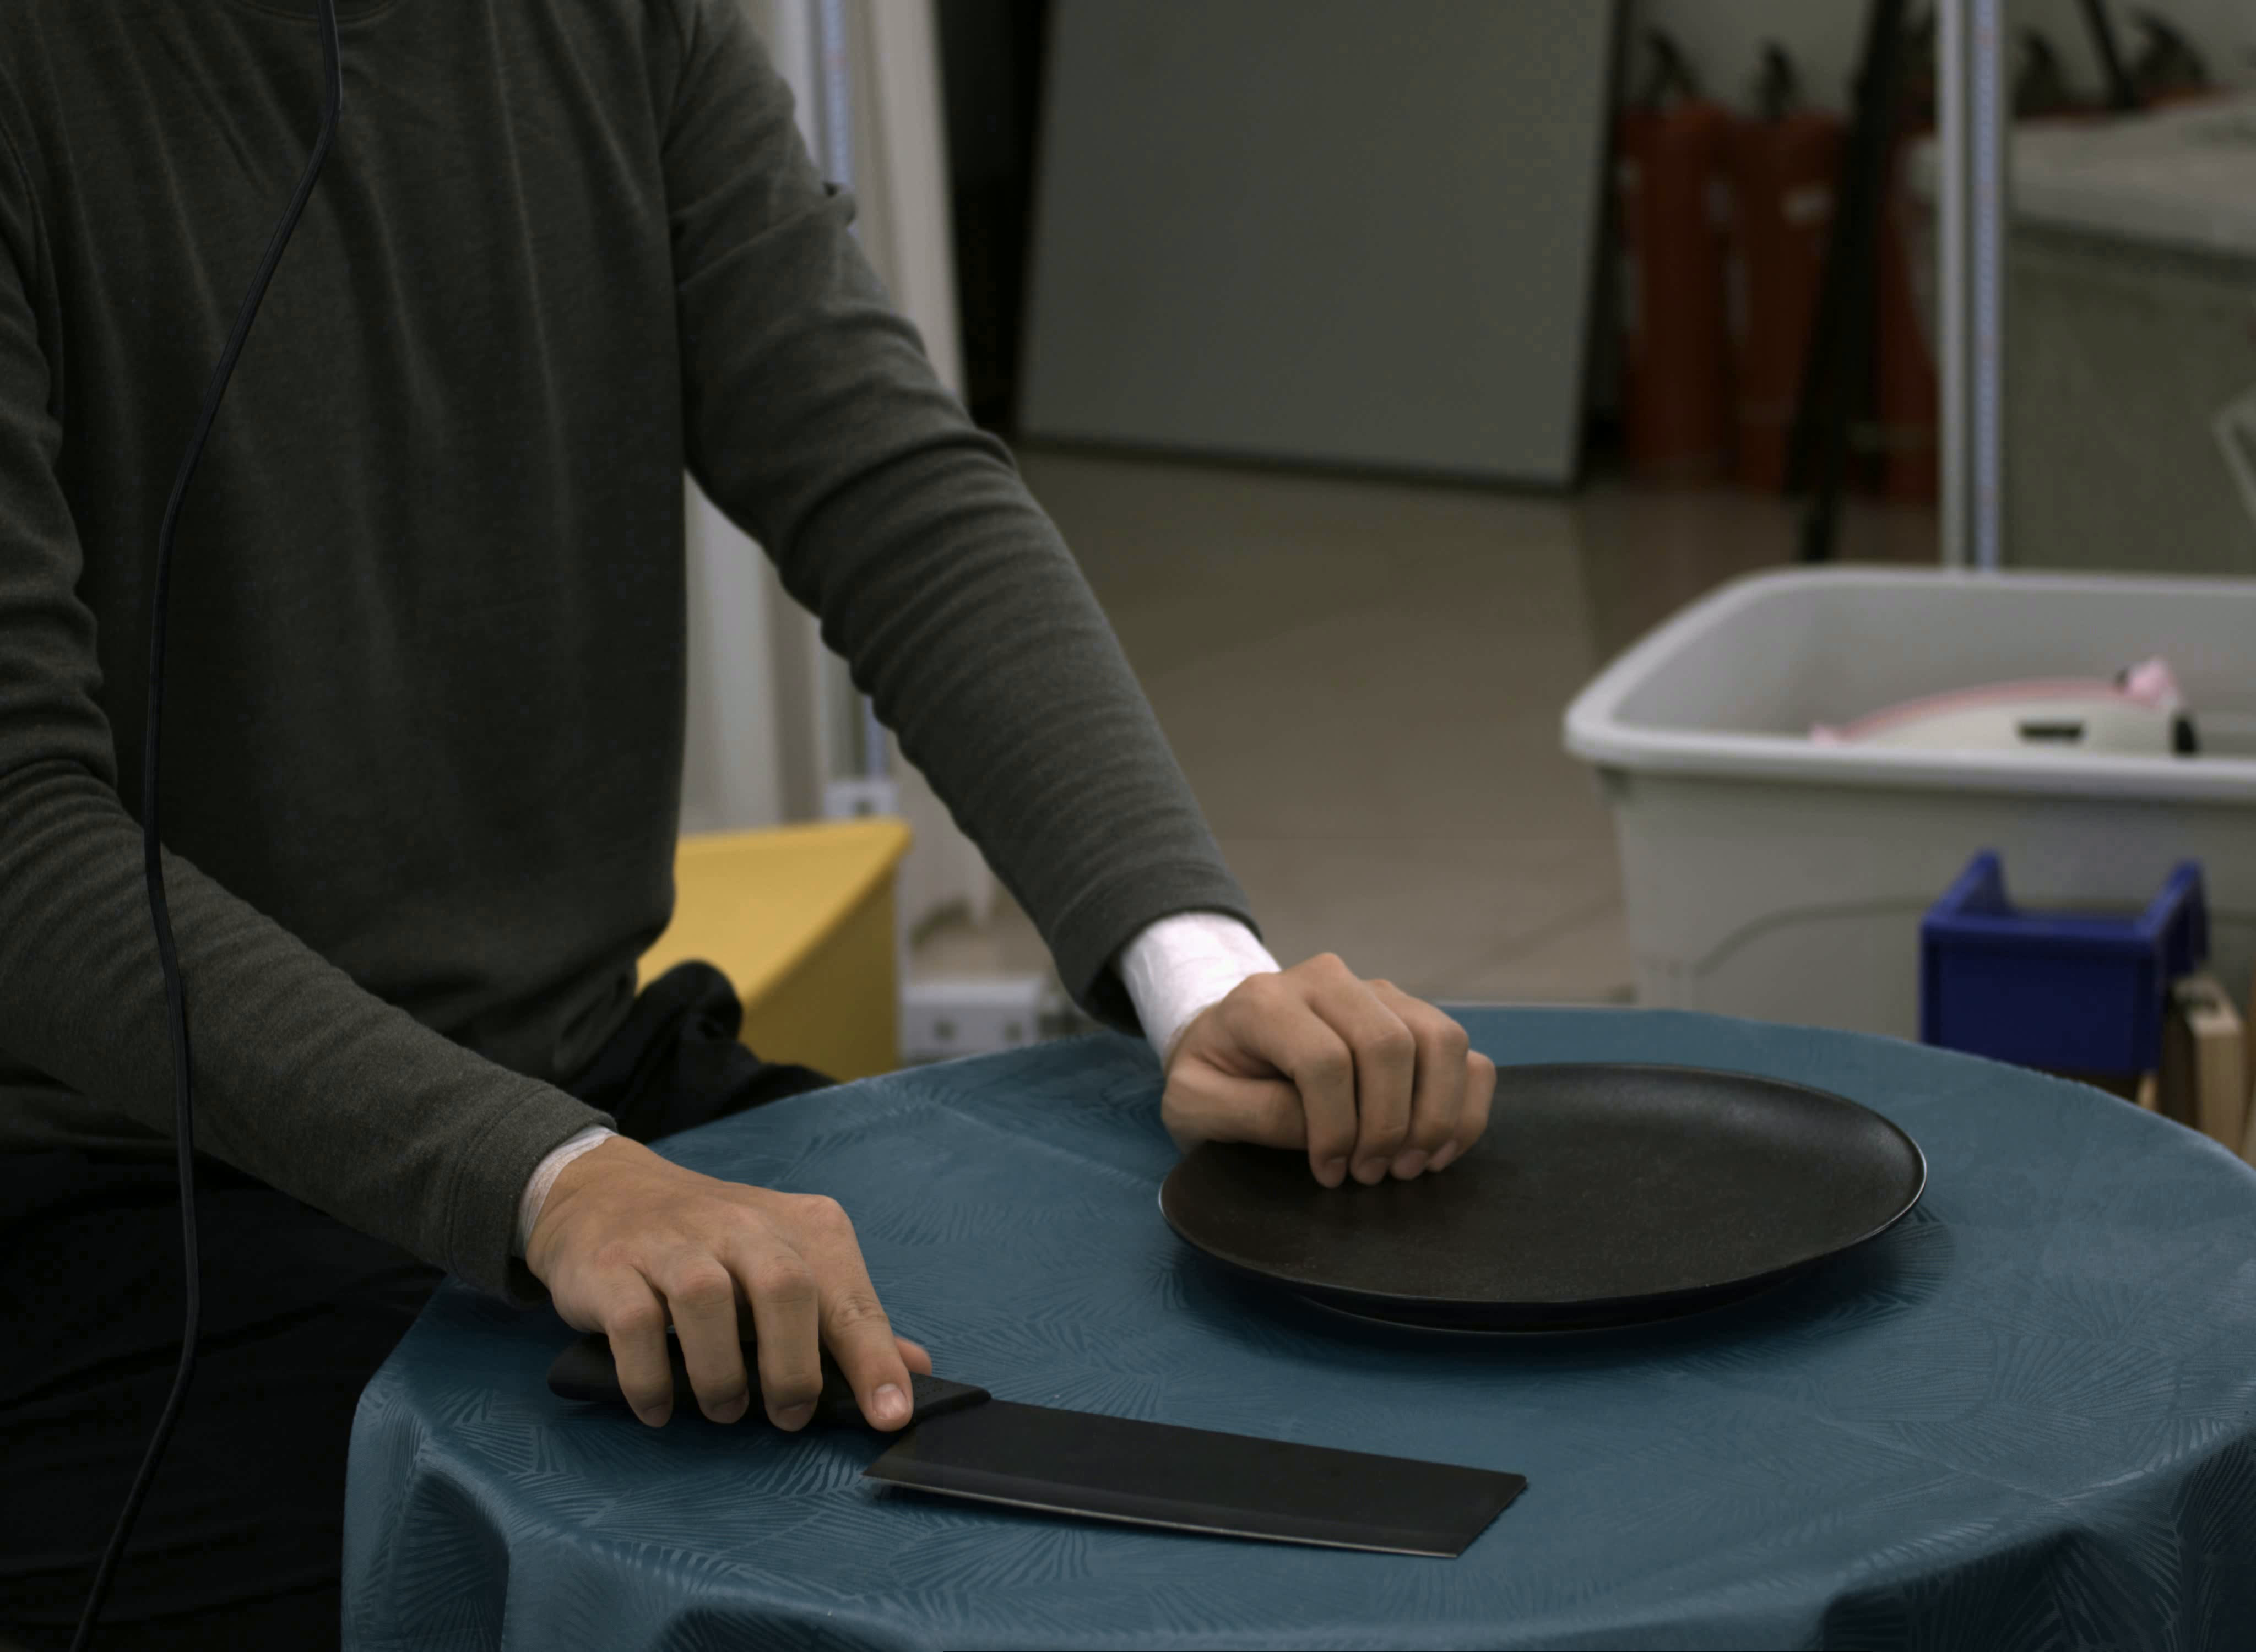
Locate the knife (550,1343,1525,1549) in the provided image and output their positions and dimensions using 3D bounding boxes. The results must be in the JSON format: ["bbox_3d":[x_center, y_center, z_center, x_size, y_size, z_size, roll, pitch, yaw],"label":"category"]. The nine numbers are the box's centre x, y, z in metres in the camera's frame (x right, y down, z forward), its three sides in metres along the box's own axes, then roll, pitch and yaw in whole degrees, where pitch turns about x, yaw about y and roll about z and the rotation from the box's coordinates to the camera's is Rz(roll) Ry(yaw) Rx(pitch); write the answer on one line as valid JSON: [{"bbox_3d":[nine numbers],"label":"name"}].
[{"bbox_3d":[-0.033,0.176,1.531,0.303,0.021,0.080,5,19,30],"label":"knife"}]

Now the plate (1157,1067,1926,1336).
[{"bbox_3d":[0.130,0.120,1.693,0.241,0.024,0.245,-4,13,0],"label":"plate"}]
